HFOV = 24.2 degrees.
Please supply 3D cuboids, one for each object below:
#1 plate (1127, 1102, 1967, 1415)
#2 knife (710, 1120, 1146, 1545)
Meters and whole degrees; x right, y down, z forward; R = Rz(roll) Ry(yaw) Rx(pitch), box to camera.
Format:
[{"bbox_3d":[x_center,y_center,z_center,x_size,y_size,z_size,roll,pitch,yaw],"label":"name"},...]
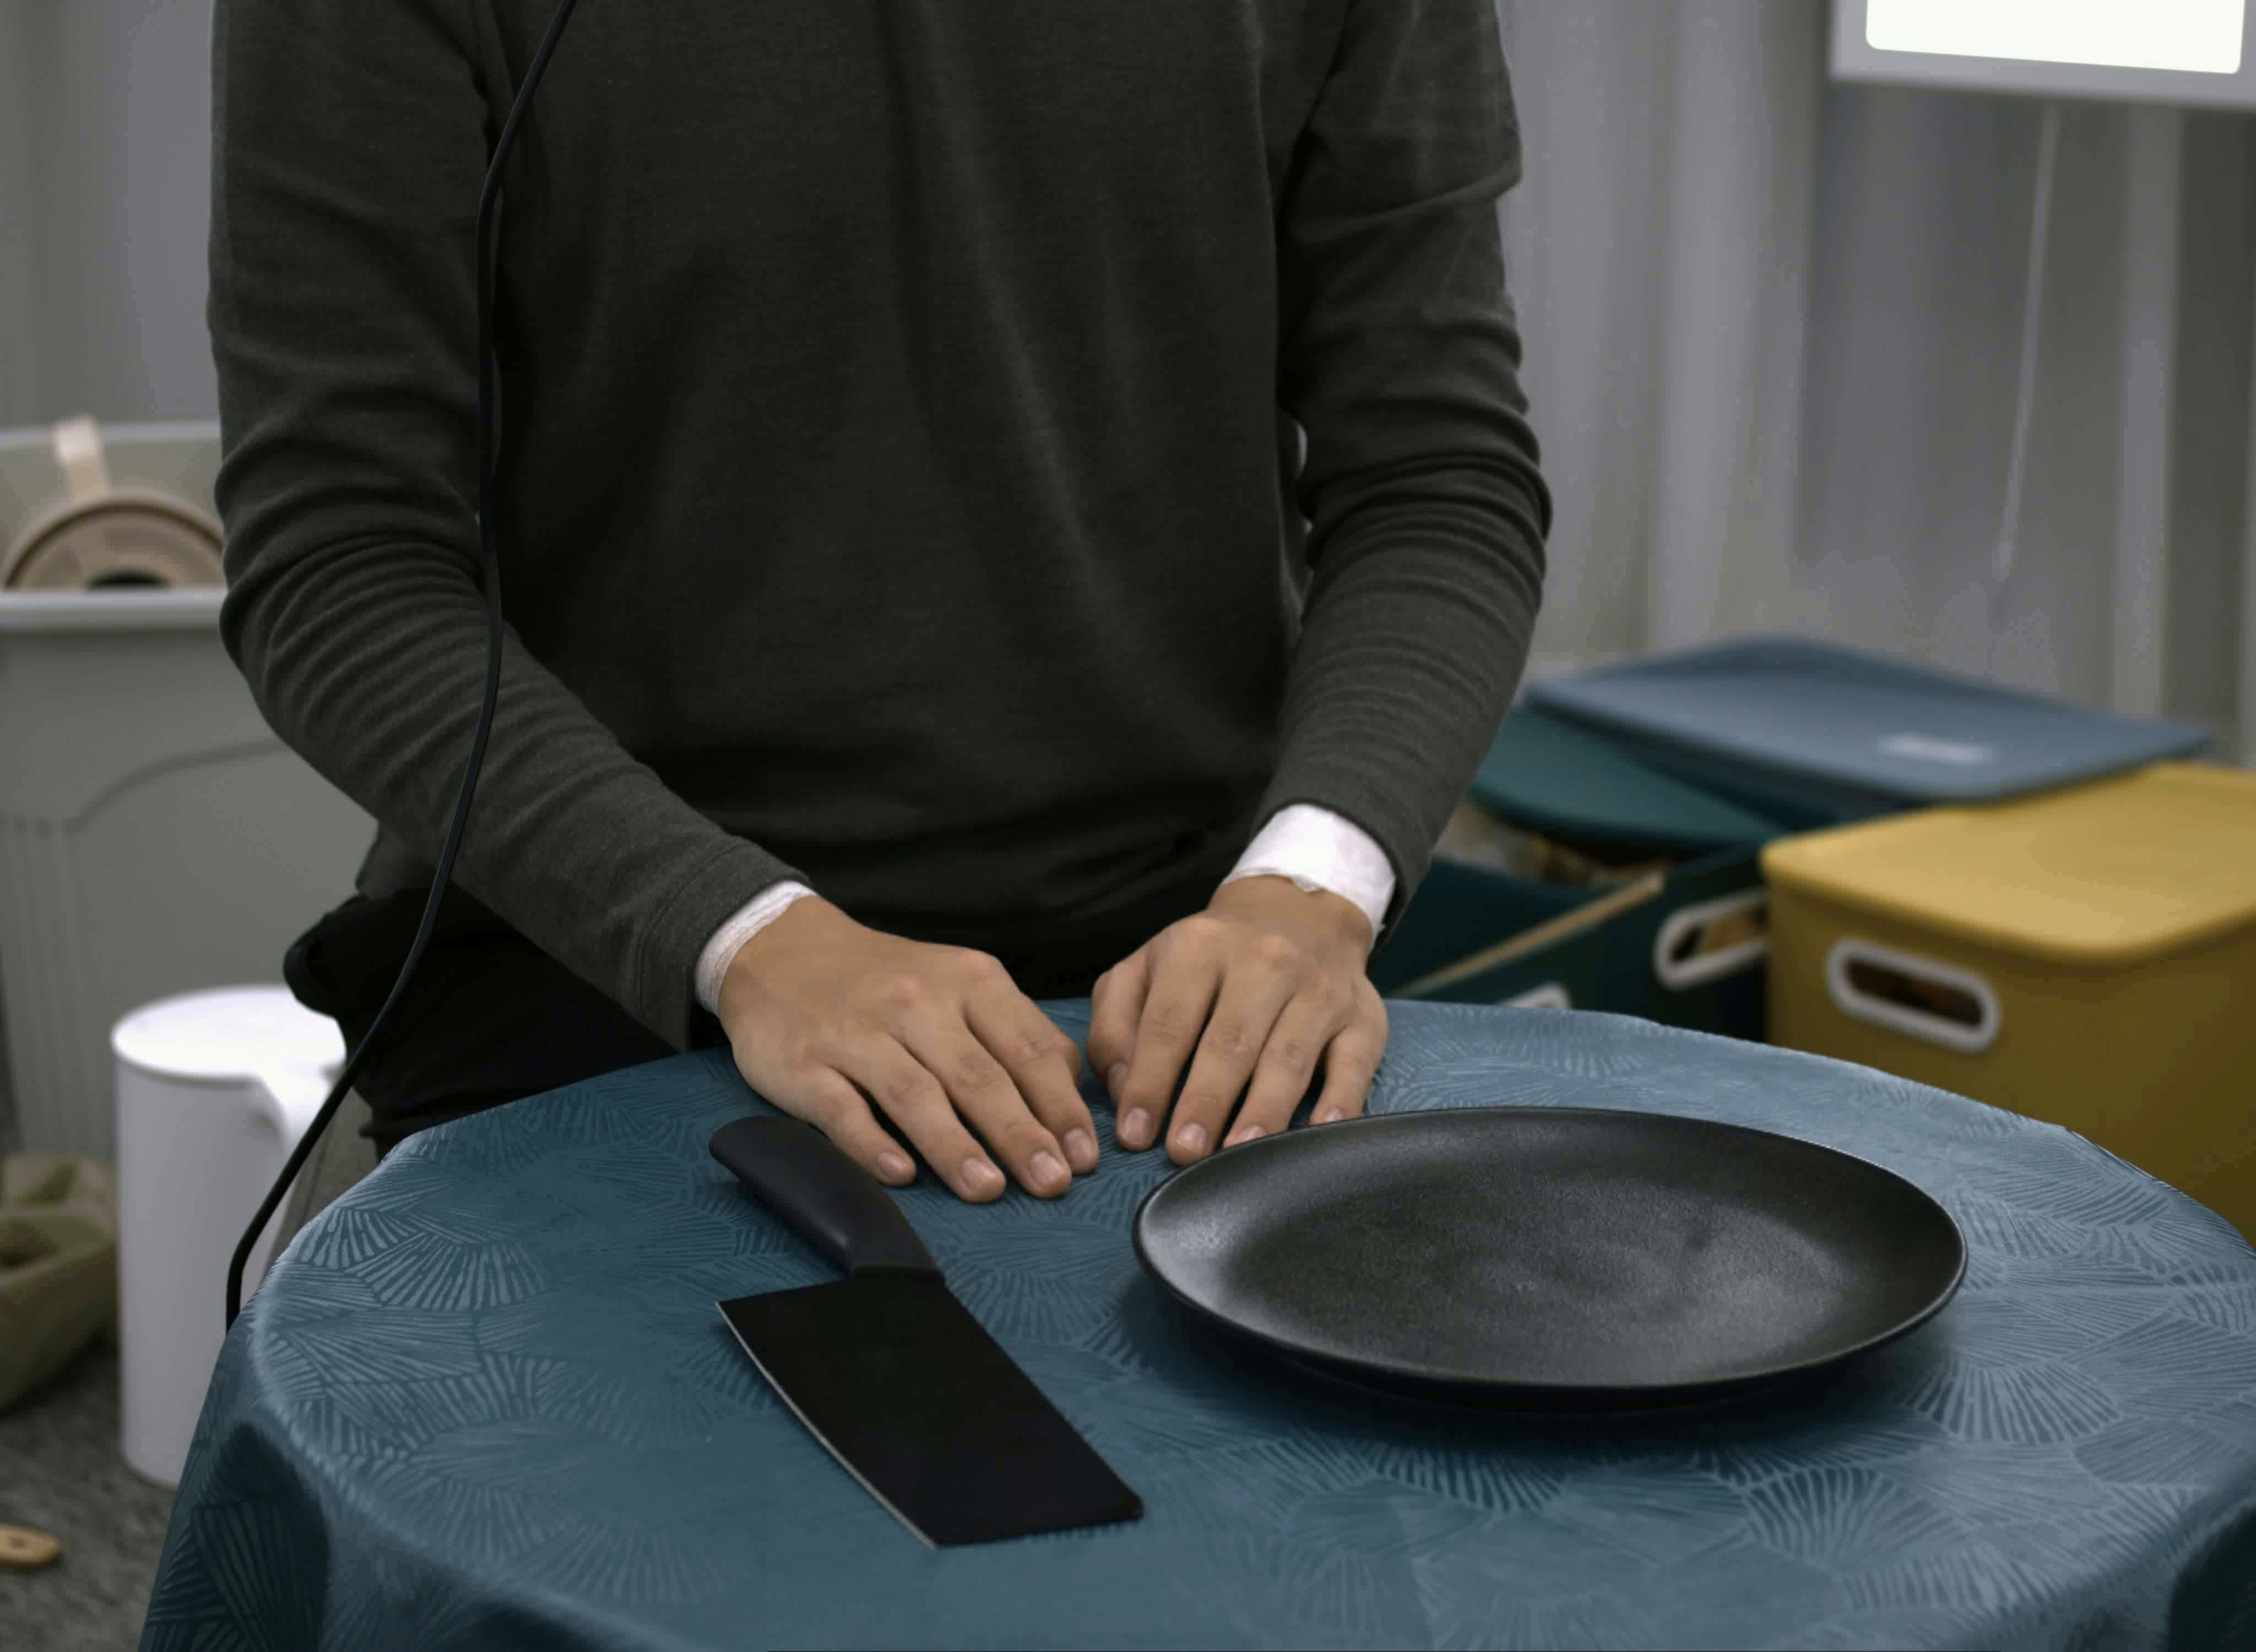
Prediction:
[{"bbox_3d":[0.121,0.128,1.530,0.243,0.023,0.243,1,15,0],"label":"plate"},{"bbox_3d":[-0.073,0.141,1.495,0.081,0.021,0.299,-5,18,-16],"label":"knife"}]
